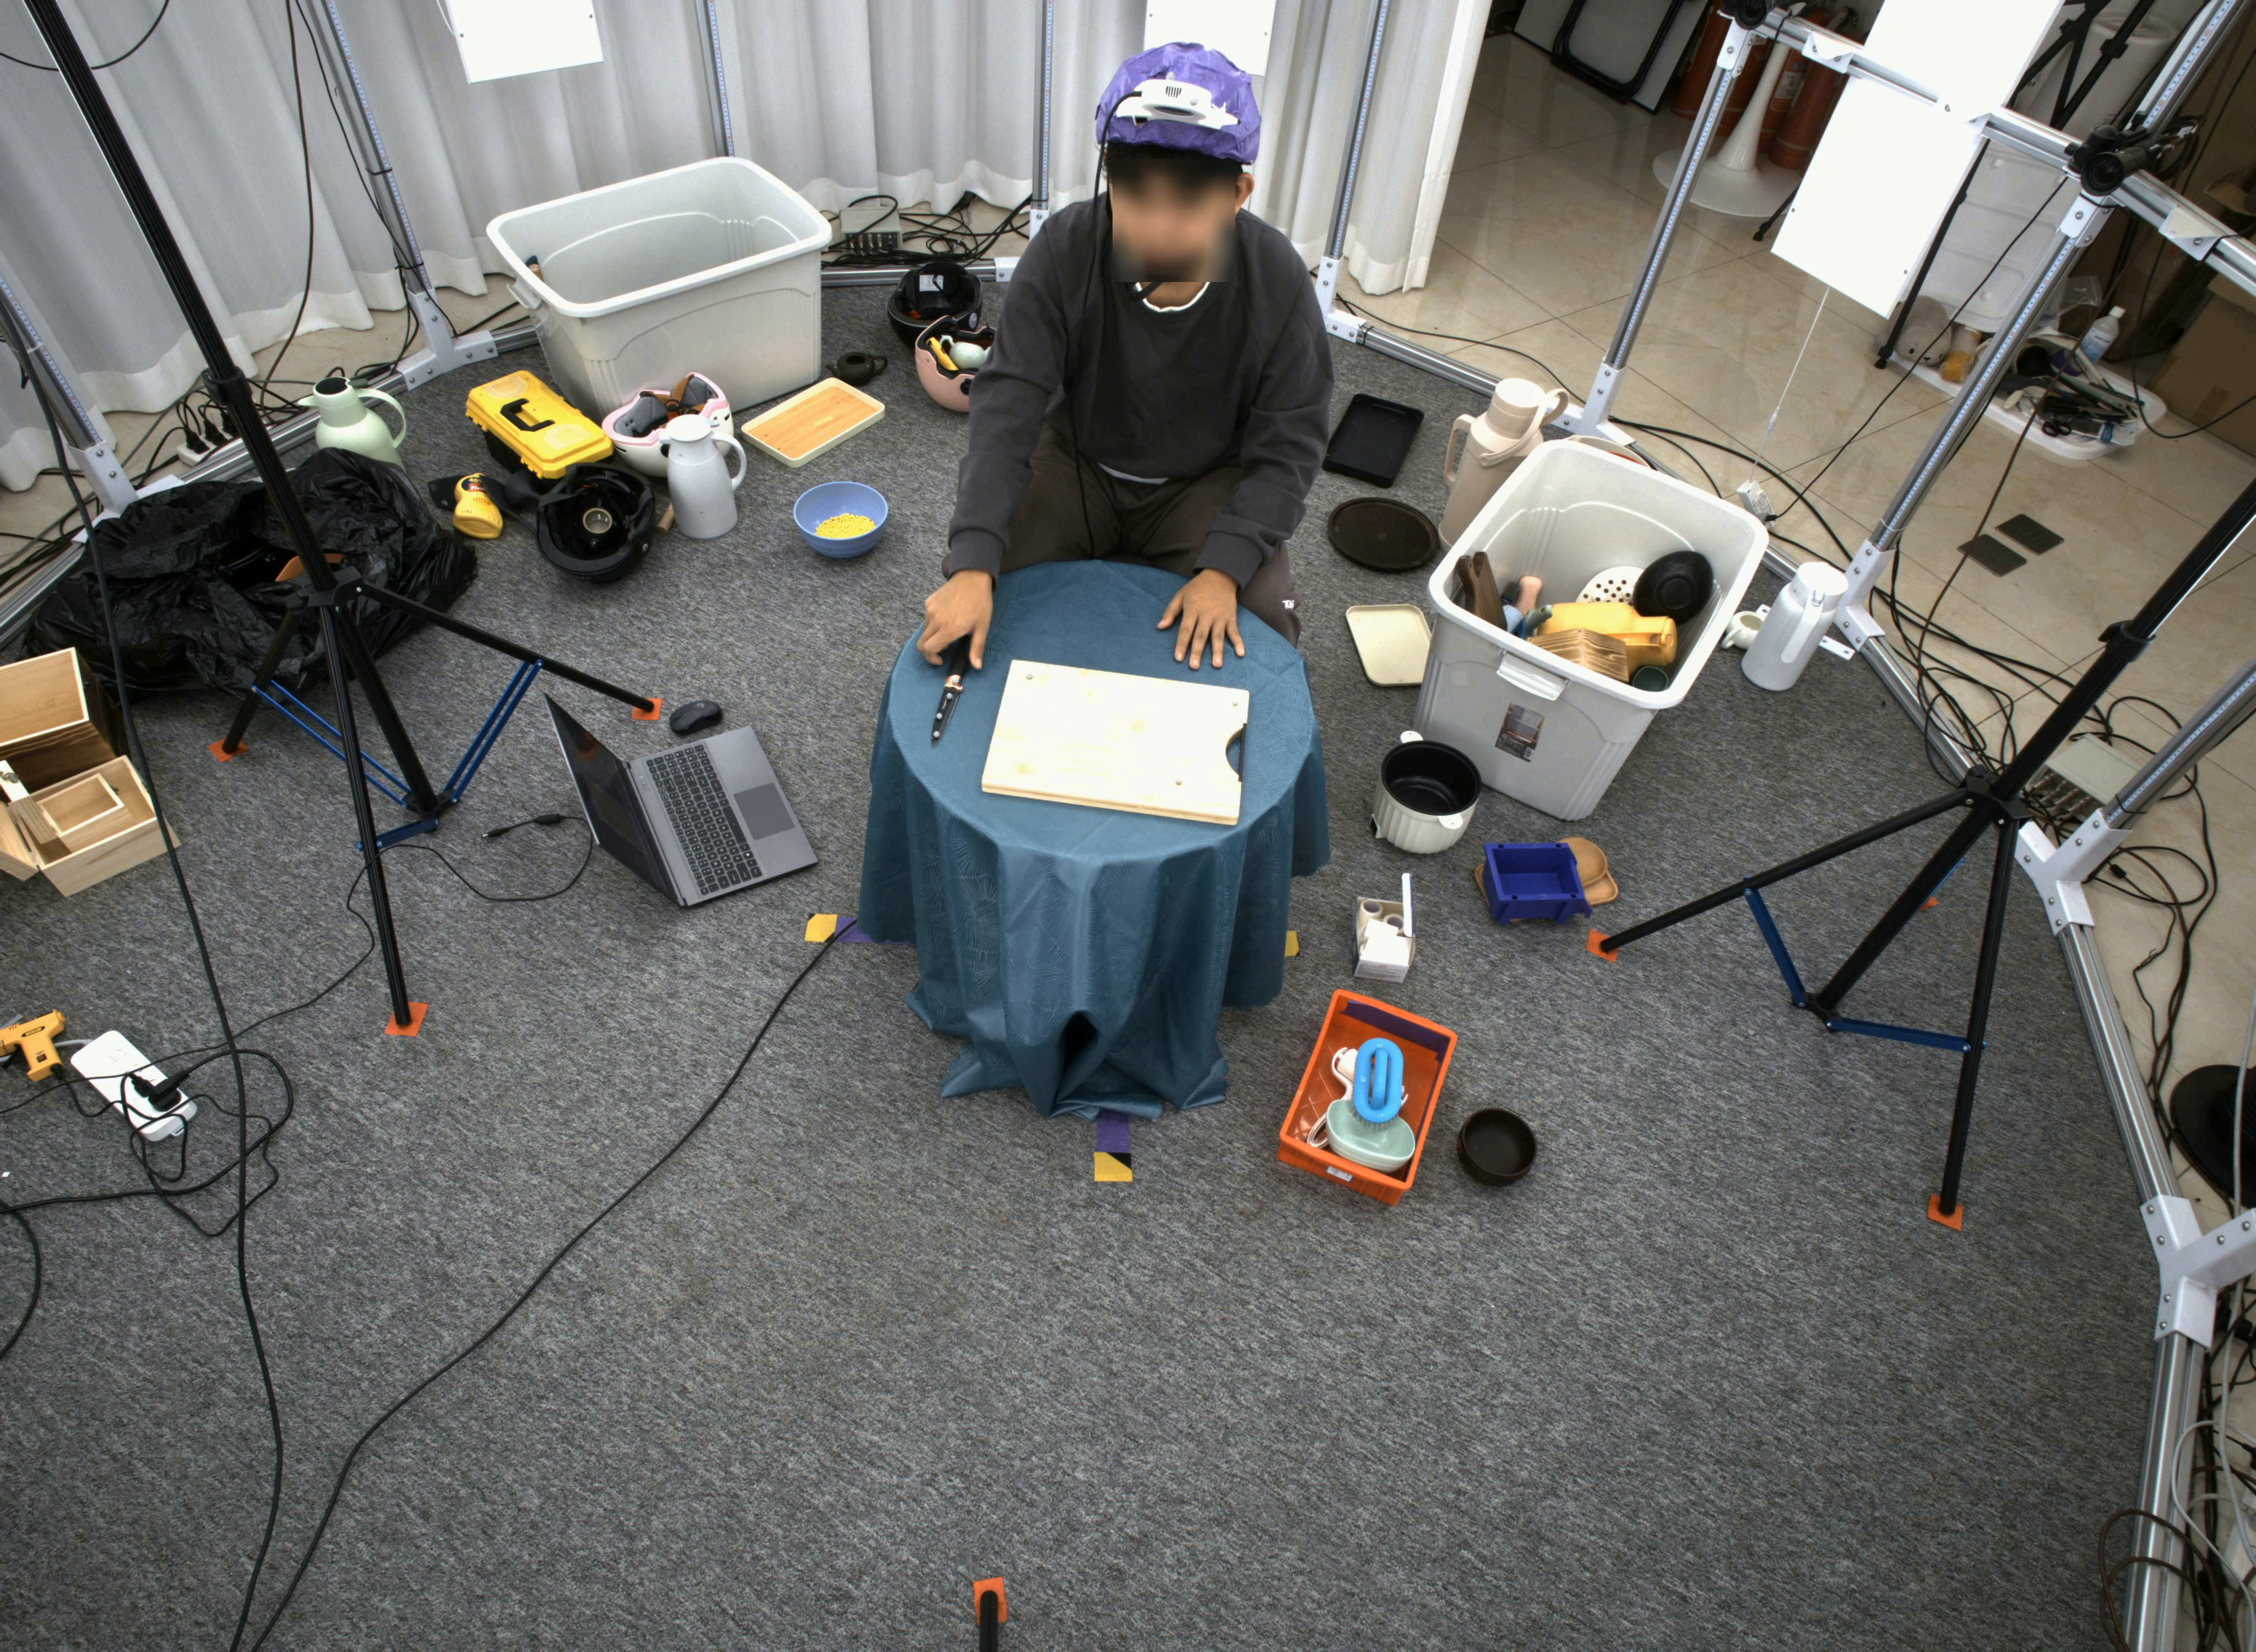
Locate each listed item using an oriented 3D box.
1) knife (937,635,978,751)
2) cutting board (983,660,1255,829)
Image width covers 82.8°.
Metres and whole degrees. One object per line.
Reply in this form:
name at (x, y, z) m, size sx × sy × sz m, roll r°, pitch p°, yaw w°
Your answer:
knife at (-0.242, -0.189, 1.805) m, size 0.026 × 0.017 × 0.231 m, roll 12°, pitch 50°, yaw -2°
cutting board at (-0.005, -0.117, 1.756) m, size 0.348 × 0.023 × 0.257 m, roll 7°, pitch 49°, yaw 2°
